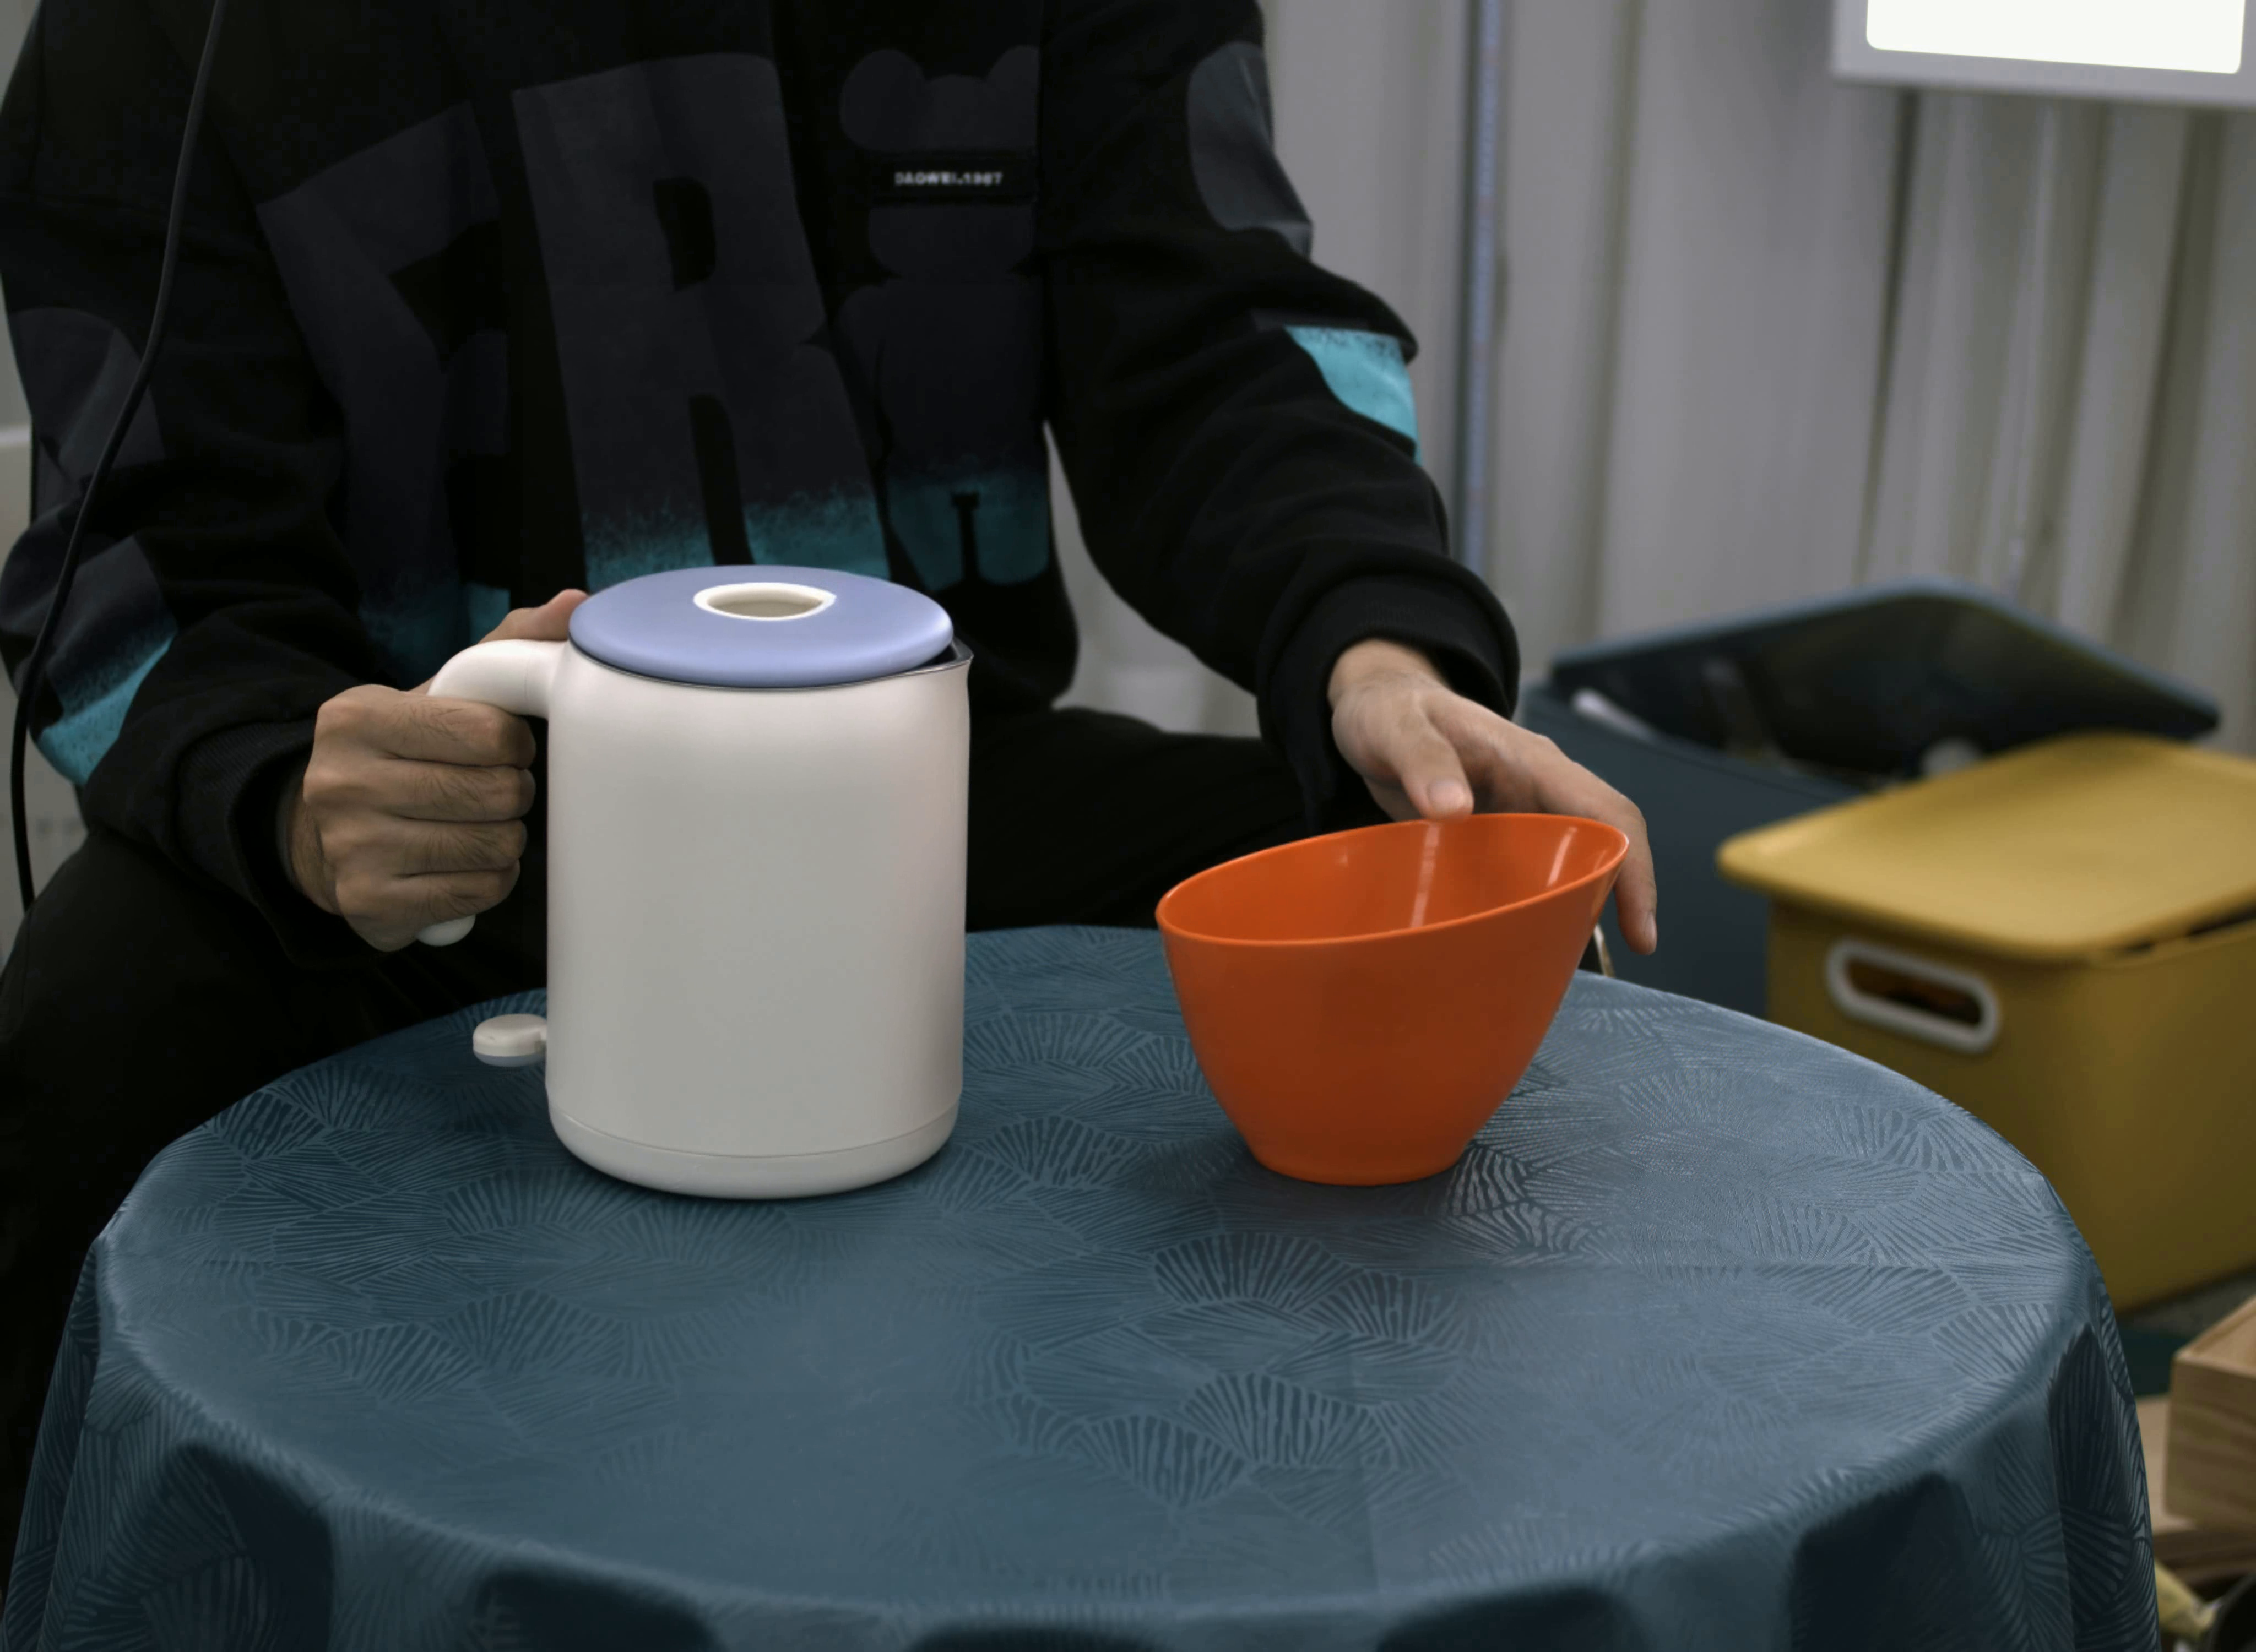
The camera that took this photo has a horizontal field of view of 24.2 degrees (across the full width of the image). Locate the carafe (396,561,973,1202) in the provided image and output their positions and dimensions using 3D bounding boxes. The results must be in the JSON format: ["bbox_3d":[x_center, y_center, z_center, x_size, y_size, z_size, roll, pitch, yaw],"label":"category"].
[{"bbox_3d":[-0.139,0.014,1.639,0.189,0.184,0.132,4,16,14],"label":"carafe"}]

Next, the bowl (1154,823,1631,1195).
[{"bbox_3d":[0.080,0.057,1.636,0.147,0.105,0.147,1,16,0],"label":"bowl"}]
